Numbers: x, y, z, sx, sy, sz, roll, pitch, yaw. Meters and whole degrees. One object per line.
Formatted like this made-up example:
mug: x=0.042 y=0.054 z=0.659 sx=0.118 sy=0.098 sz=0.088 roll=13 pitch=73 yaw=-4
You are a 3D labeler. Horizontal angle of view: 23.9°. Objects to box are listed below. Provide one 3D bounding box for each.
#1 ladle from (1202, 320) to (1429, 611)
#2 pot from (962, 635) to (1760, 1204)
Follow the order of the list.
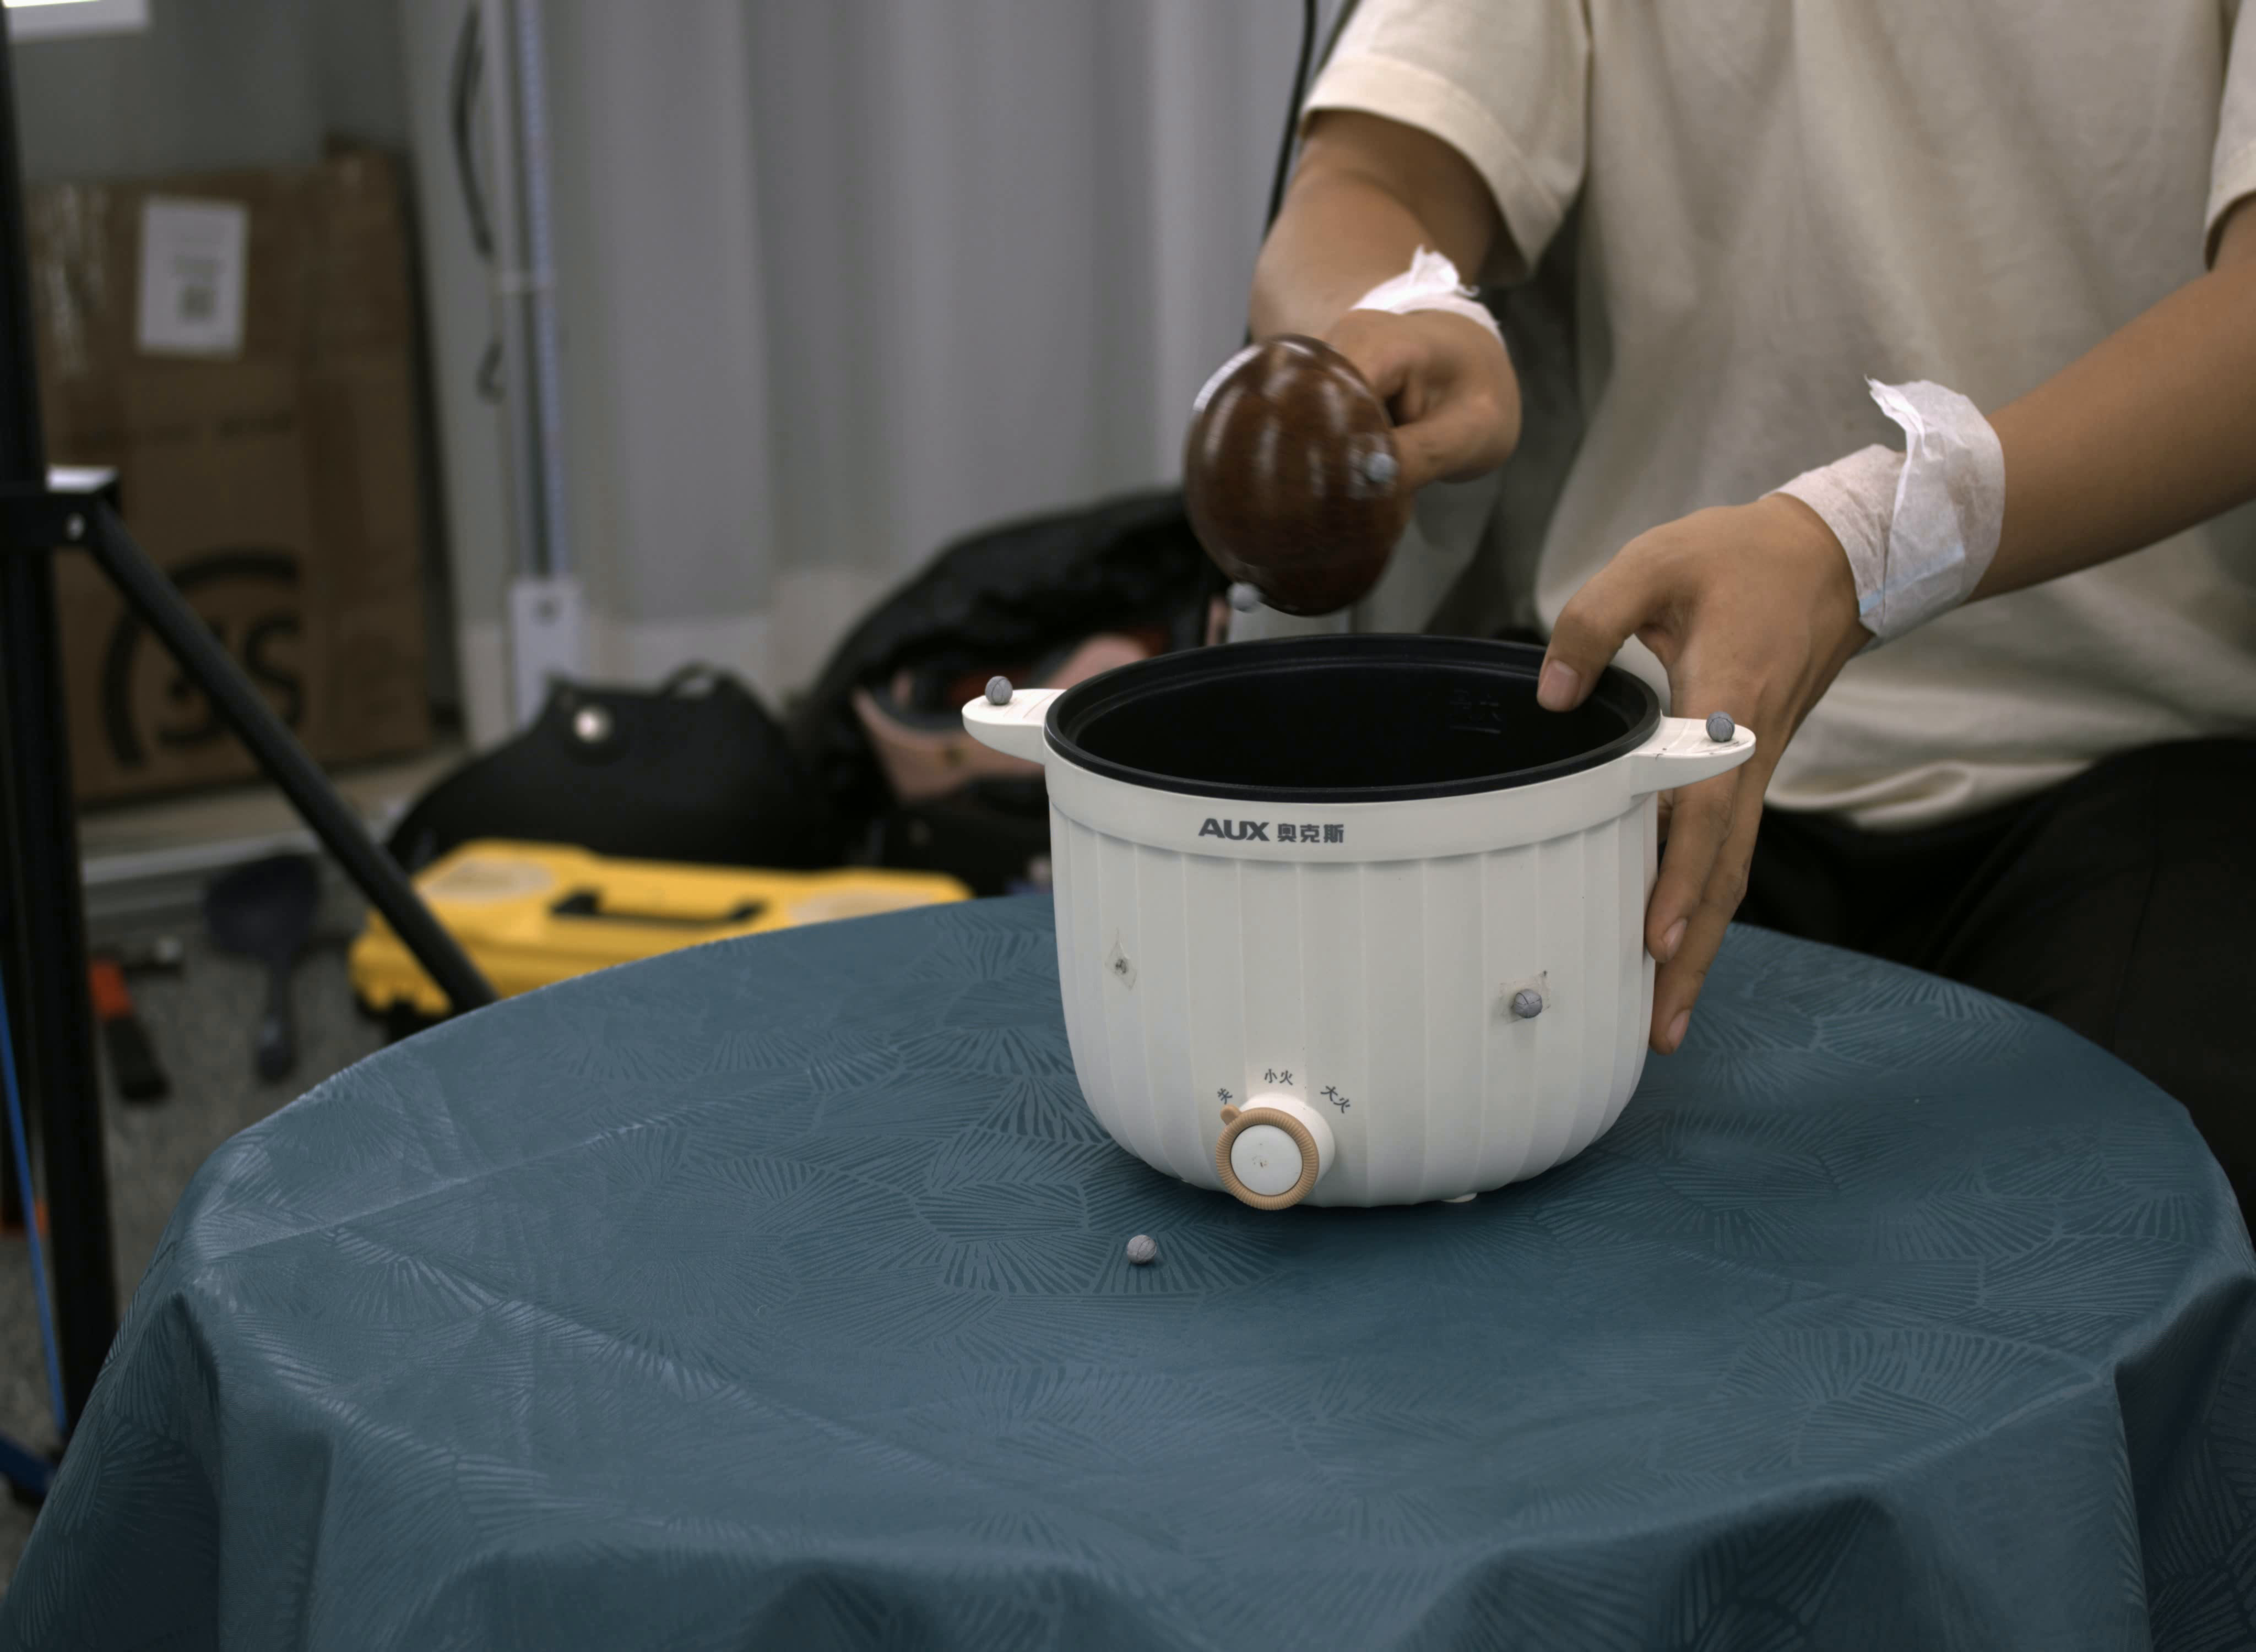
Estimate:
ladle: x=0.078 y=-0.108 z=1.606 sx=0.077 sy=0.082 sz=0.270 roll=-3 pitch=3 yaw=15
pot: x=0.067 y=0.030 z=1.565 sx=0.243 sy=0.143 sz=0.188 roll=2 pitch=12 yaw=19
